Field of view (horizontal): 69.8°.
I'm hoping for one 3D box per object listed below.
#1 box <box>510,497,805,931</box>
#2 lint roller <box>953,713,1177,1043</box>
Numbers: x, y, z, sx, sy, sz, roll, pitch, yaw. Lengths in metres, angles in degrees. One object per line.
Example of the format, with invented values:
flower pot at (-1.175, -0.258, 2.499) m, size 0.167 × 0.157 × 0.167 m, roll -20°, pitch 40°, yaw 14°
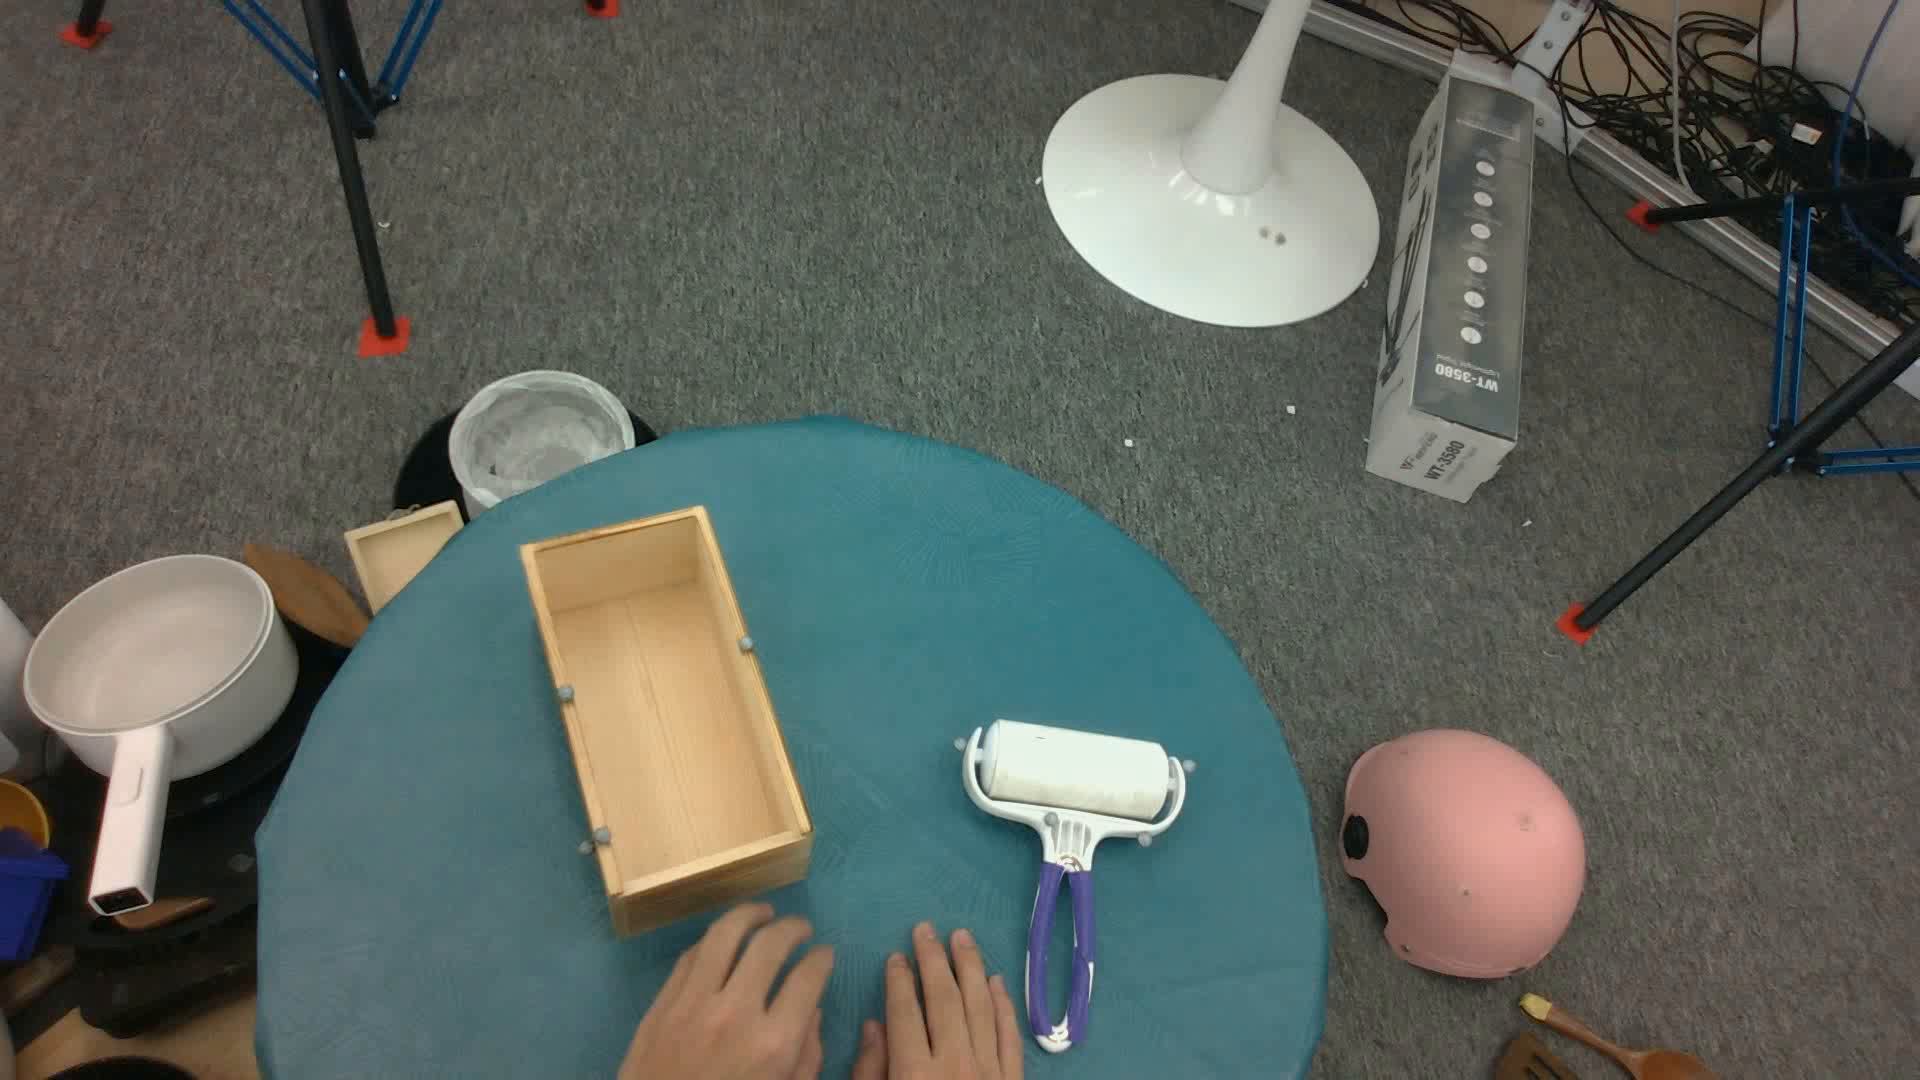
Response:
box at (-0.173, 0.093, 0.774) m, size 0.108 × 0.080 × 0.212 m, roll -15°, pitch 63°, yaw -20°
lint roller at (0.055, 0.187, 0.780) m, size 0.133 × 0.050 × 0.181 m, roll 11°, pitch 55°, yaw -6°
